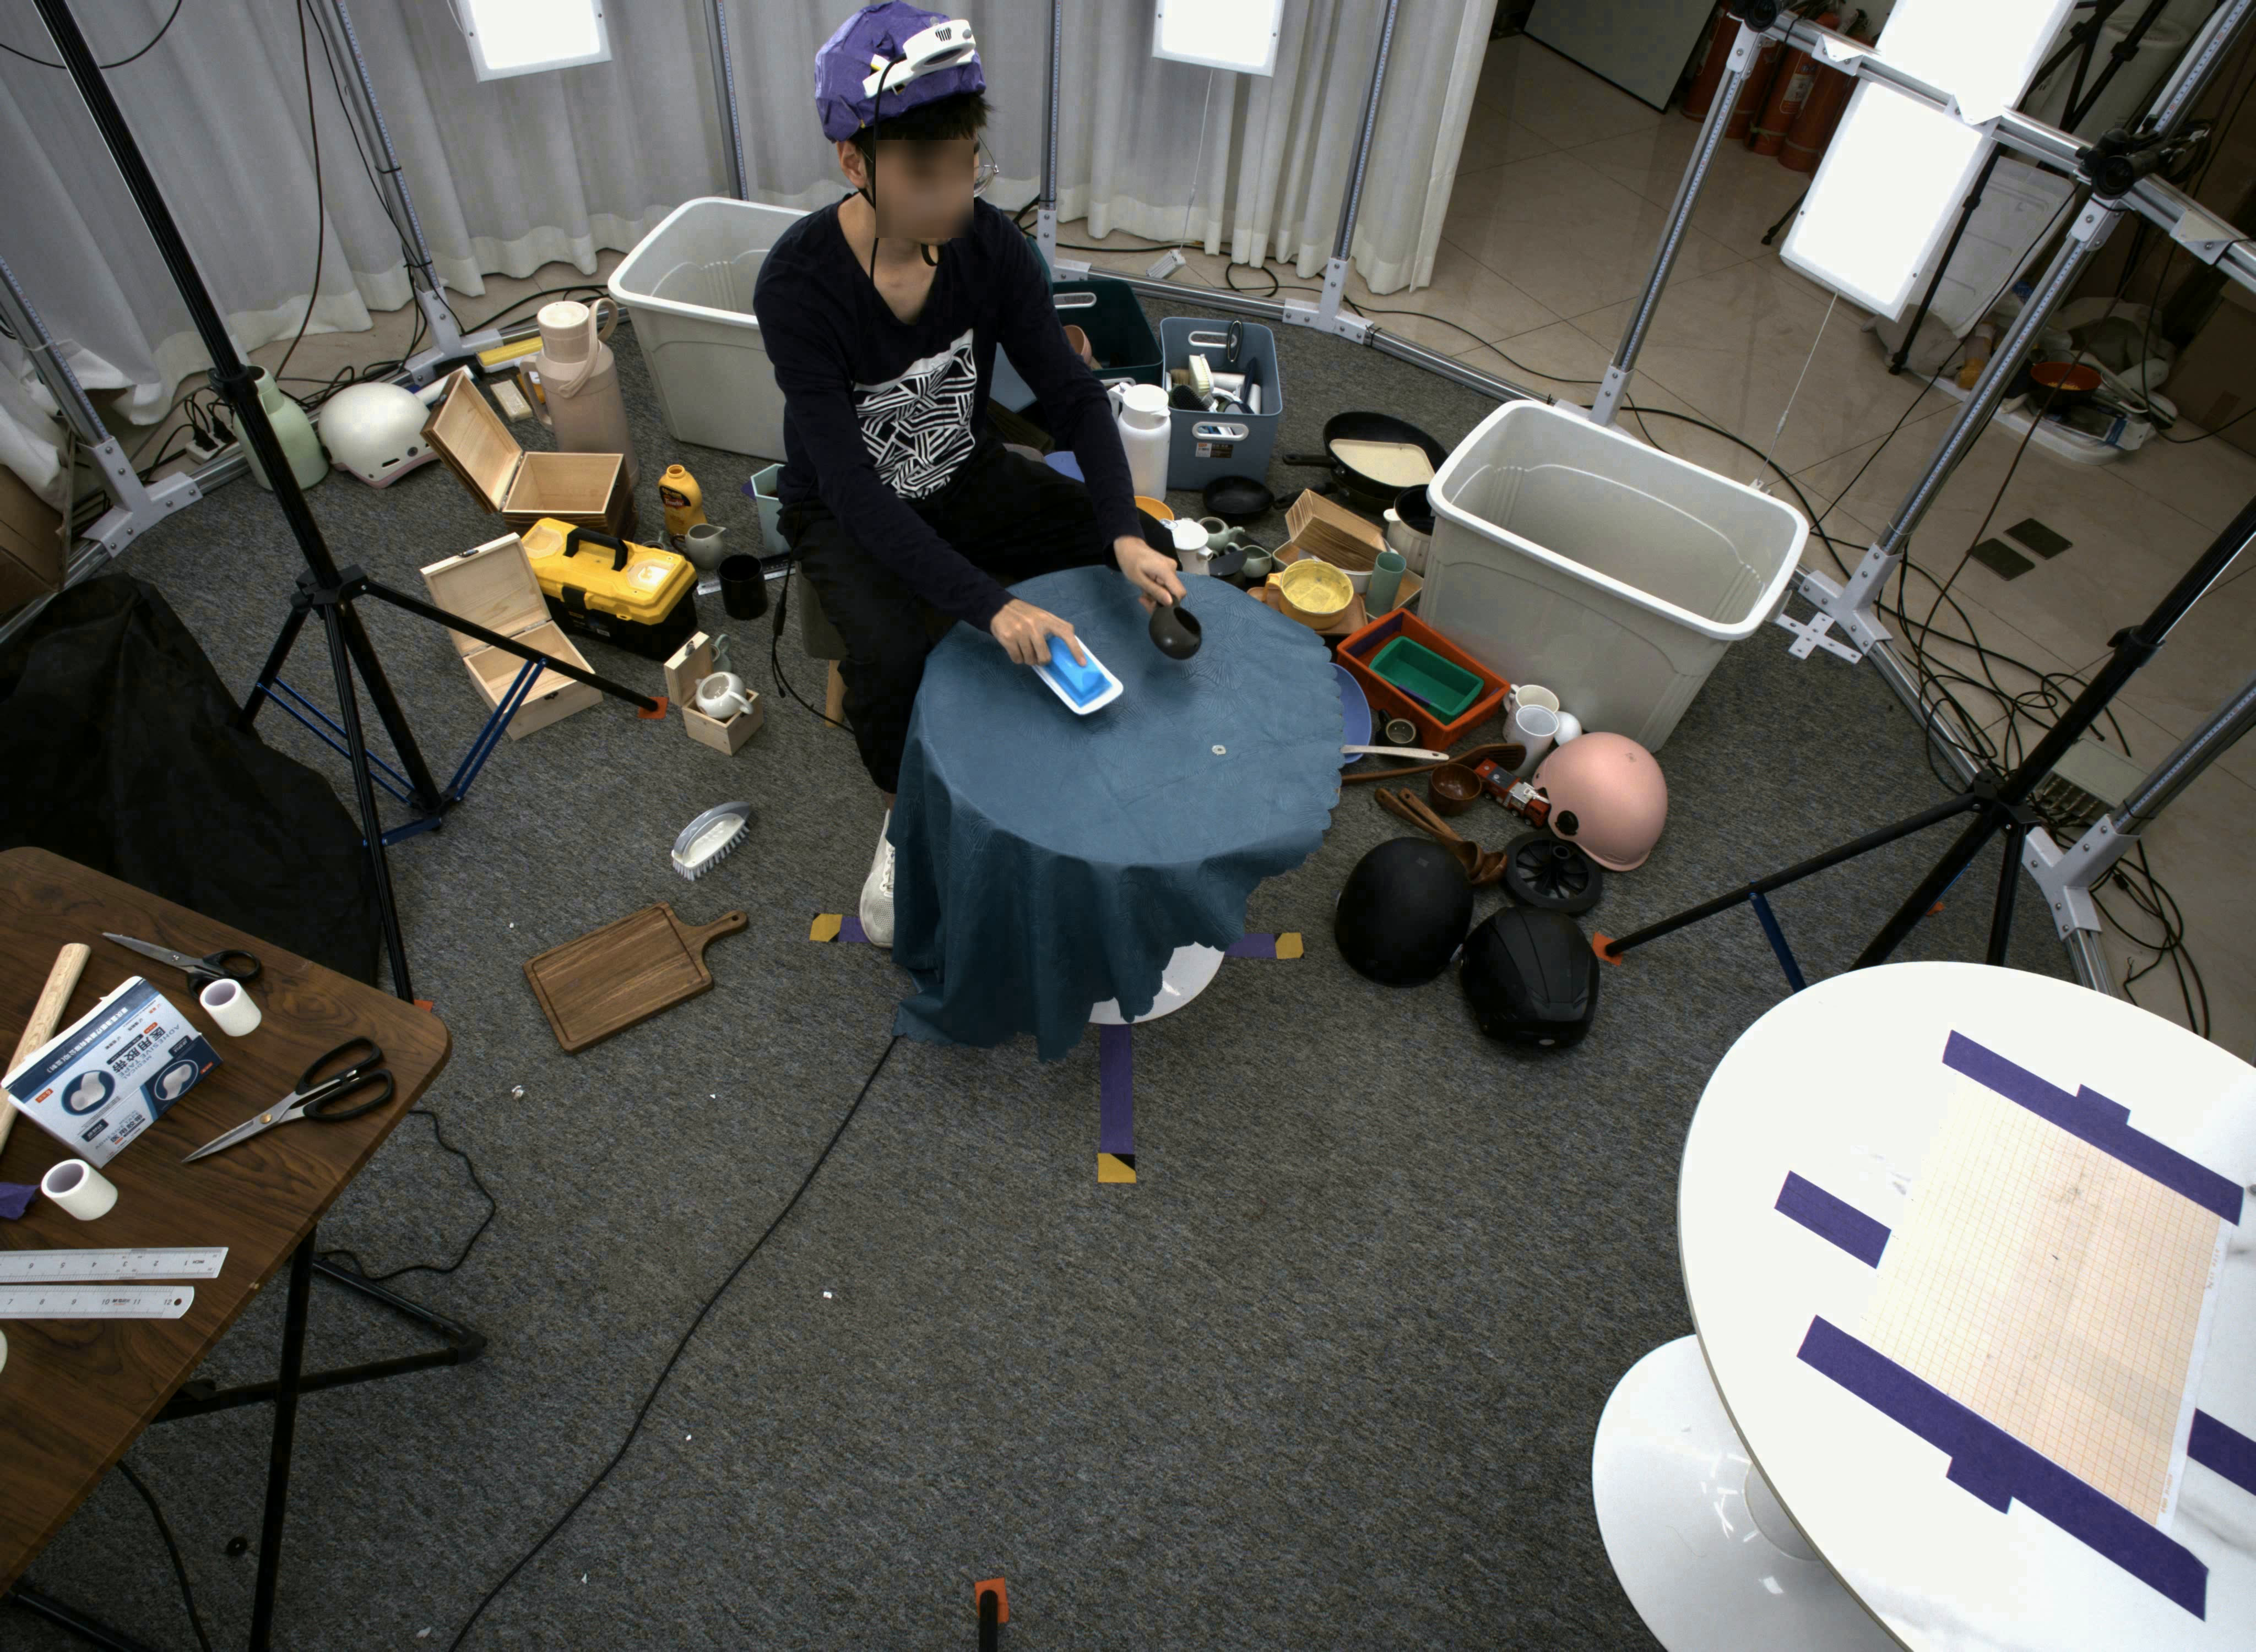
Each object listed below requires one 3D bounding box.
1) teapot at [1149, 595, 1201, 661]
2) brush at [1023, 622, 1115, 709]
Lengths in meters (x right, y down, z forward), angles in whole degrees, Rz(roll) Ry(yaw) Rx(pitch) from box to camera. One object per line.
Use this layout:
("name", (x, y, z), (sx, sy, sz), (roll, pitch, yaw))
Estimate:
("teapot", (0.066, -0.286, 1.837), (0.082, 0.052, 0.117), (23, 41, -42))
("brush", (-0.083, -0.231, 1.788), (0.084, 0.054, 0.147), (-29, 59, -15))
